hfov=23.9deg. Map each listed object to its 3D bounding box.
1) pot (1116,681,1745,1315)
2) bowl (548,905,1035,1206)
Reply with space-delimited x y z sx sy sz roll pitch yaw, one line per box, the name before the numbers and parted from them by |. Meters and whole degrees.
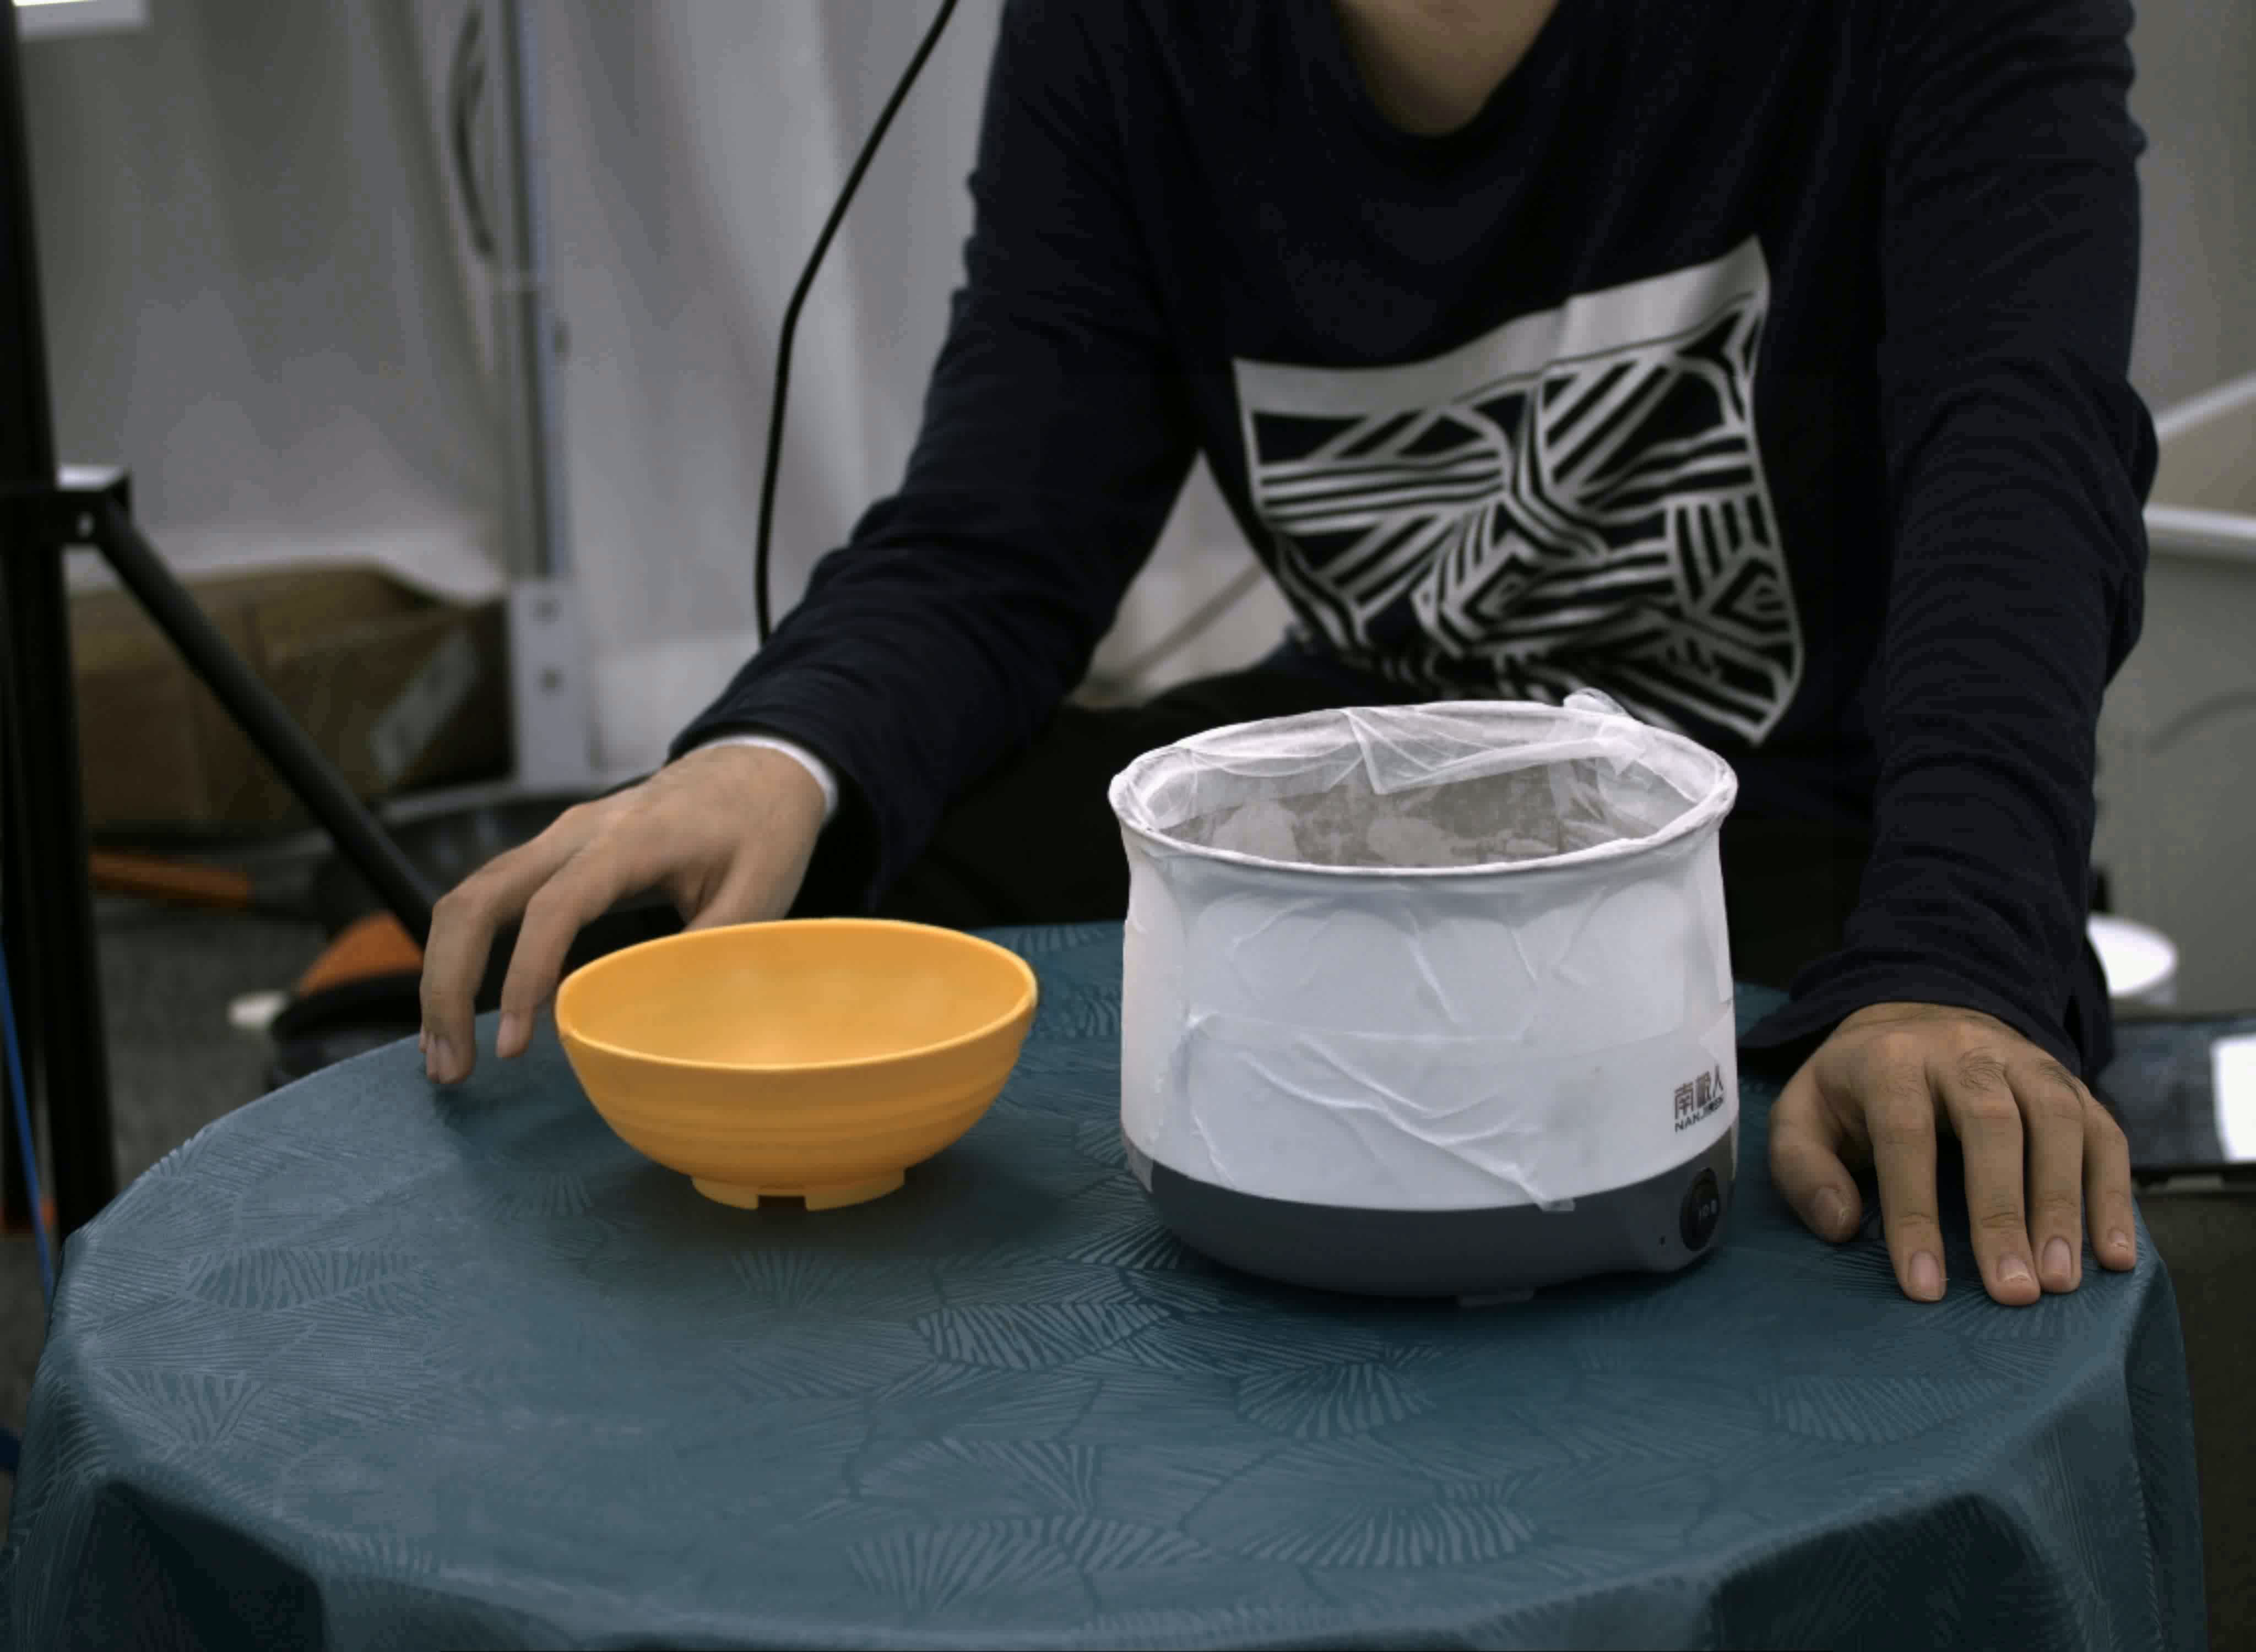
pot | 0.099 0.042 1.528 0.182 0.136 0.229 10 21 30
bowl | -0.099 0.074 1.583 0.144 0.060 0.146 -2 17 -1
